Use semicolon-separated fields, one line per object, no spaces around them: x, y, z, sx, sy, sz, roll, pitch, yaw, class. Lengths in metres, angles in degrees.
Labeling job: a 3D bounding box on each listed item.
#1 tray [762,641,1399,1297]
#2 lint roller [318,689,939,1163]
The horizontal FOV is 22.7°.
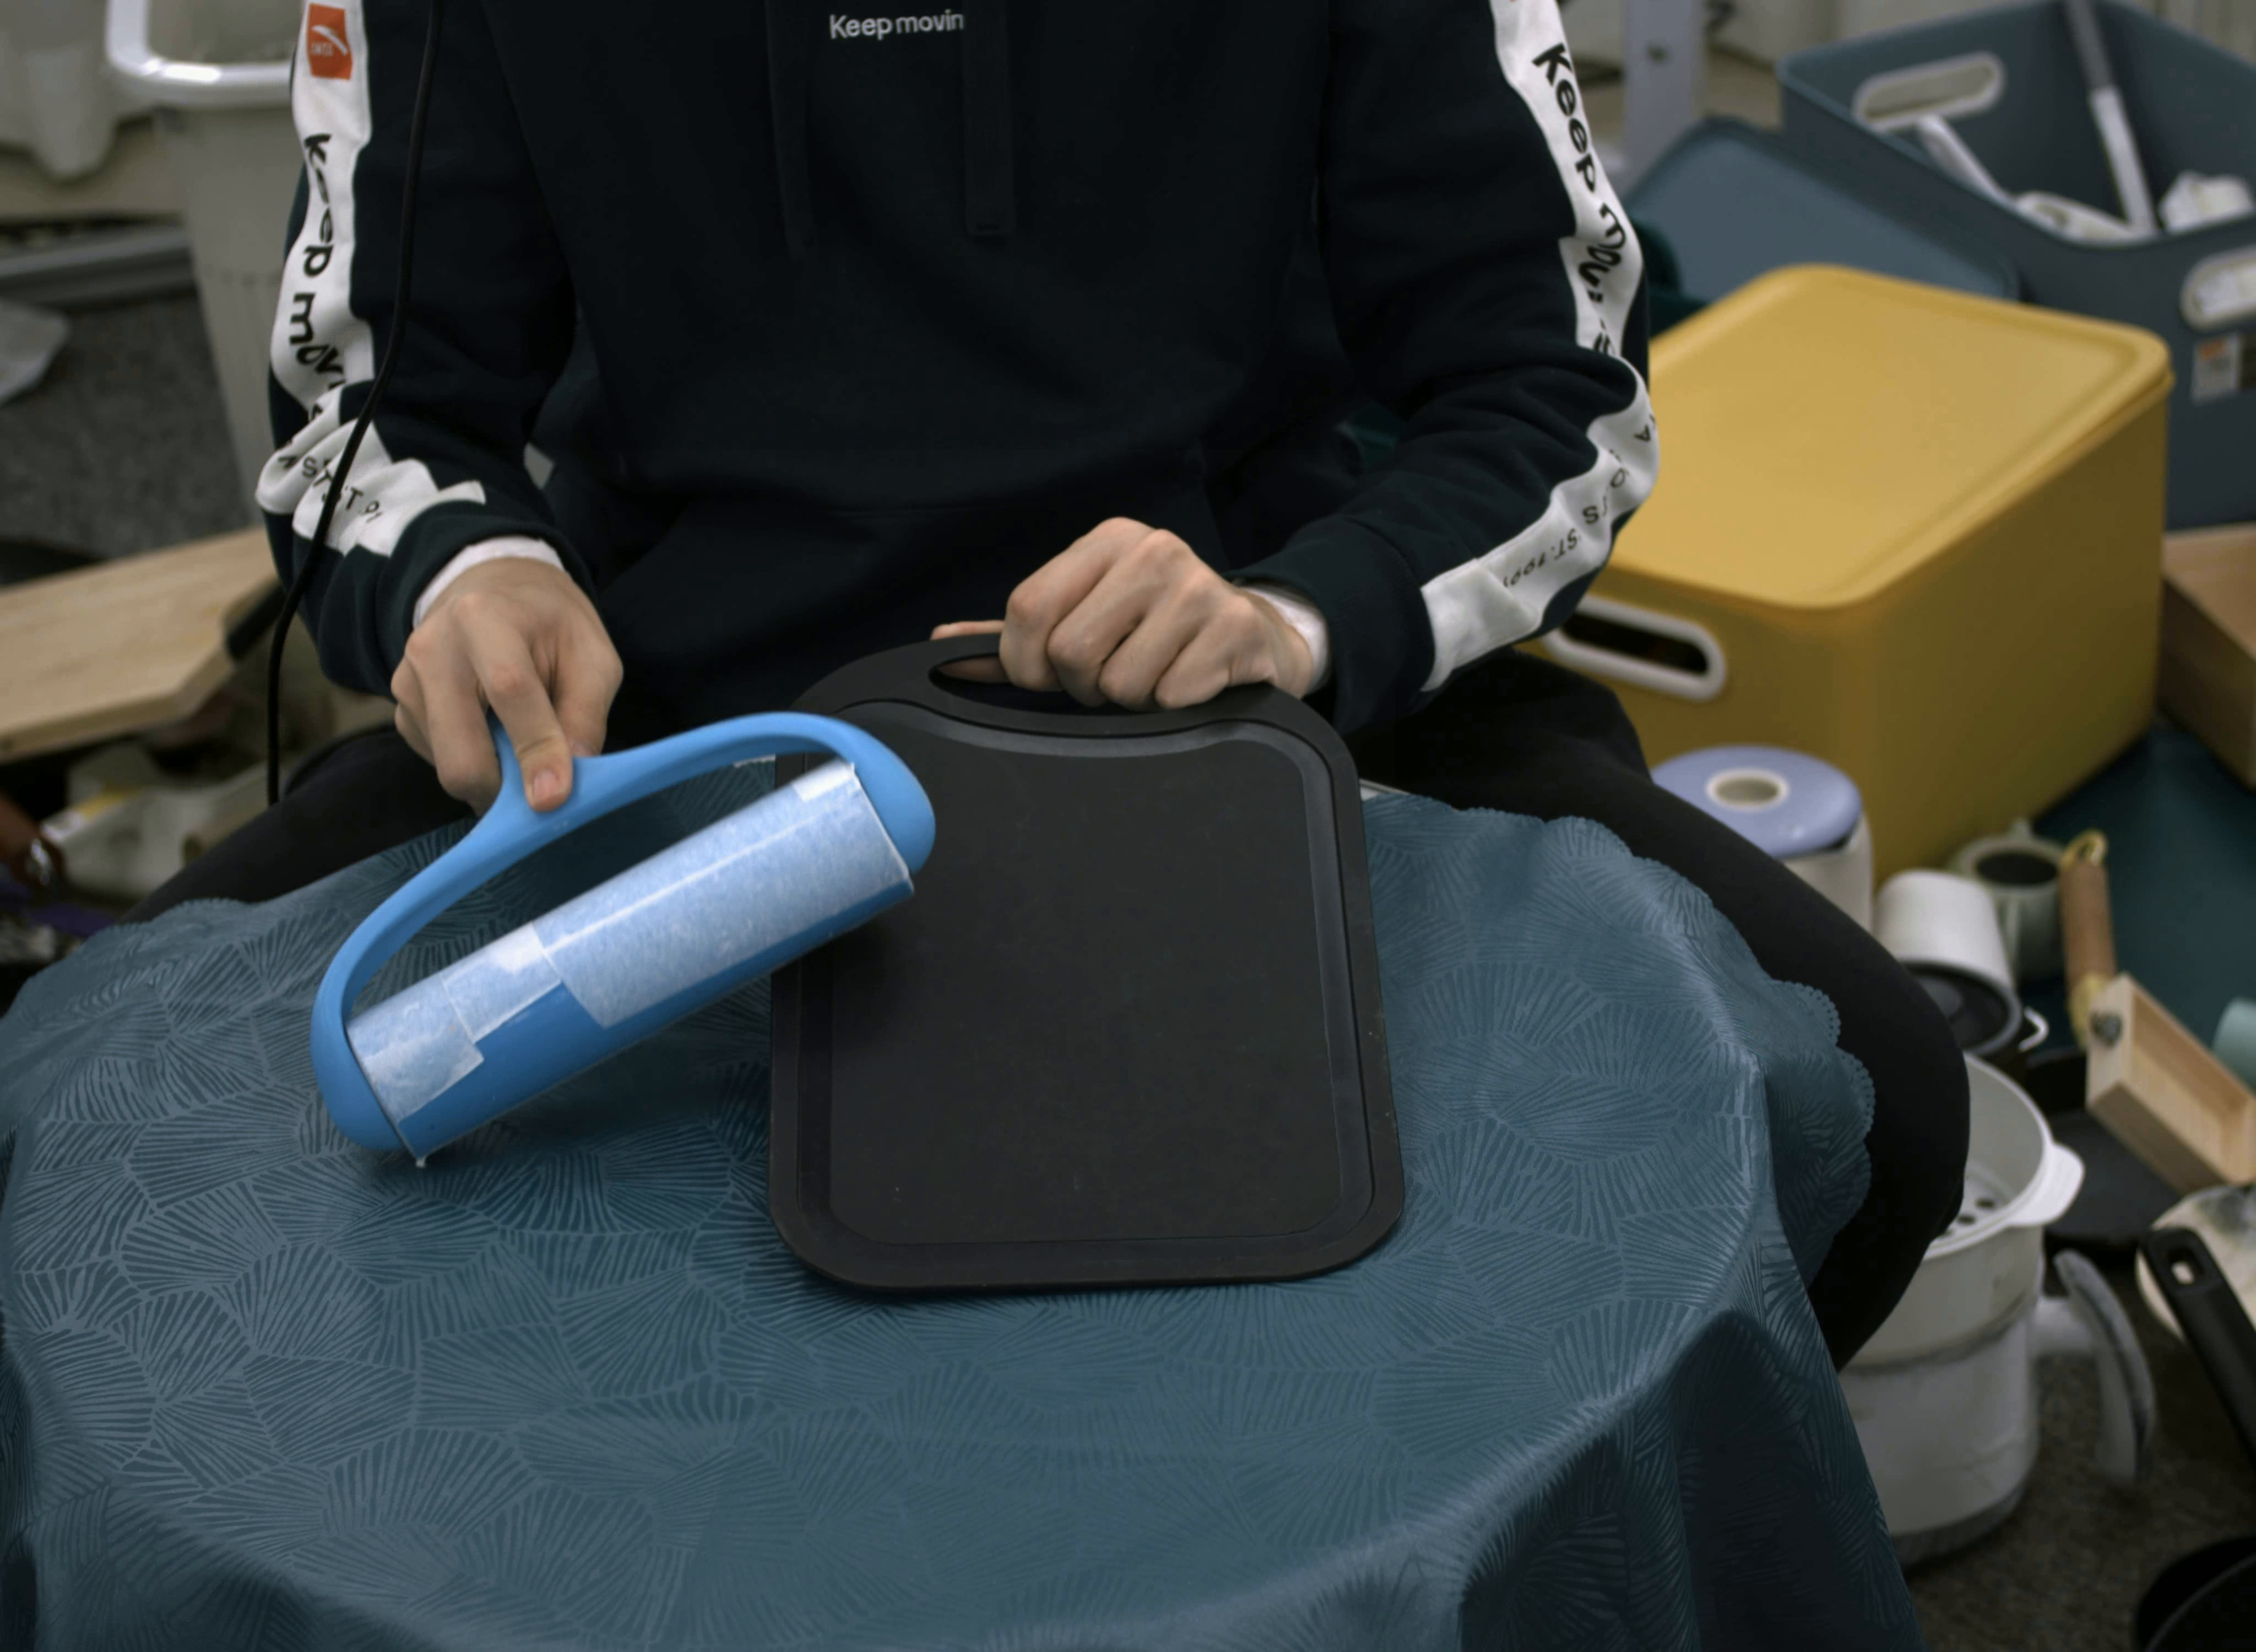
-0.018;0.041;1.926;0.210;0.009;0.332;1;41;-3;tray
-0.194;0.004;1.939;0.229;0.067;0.182;-32;52;-6;lint roller
